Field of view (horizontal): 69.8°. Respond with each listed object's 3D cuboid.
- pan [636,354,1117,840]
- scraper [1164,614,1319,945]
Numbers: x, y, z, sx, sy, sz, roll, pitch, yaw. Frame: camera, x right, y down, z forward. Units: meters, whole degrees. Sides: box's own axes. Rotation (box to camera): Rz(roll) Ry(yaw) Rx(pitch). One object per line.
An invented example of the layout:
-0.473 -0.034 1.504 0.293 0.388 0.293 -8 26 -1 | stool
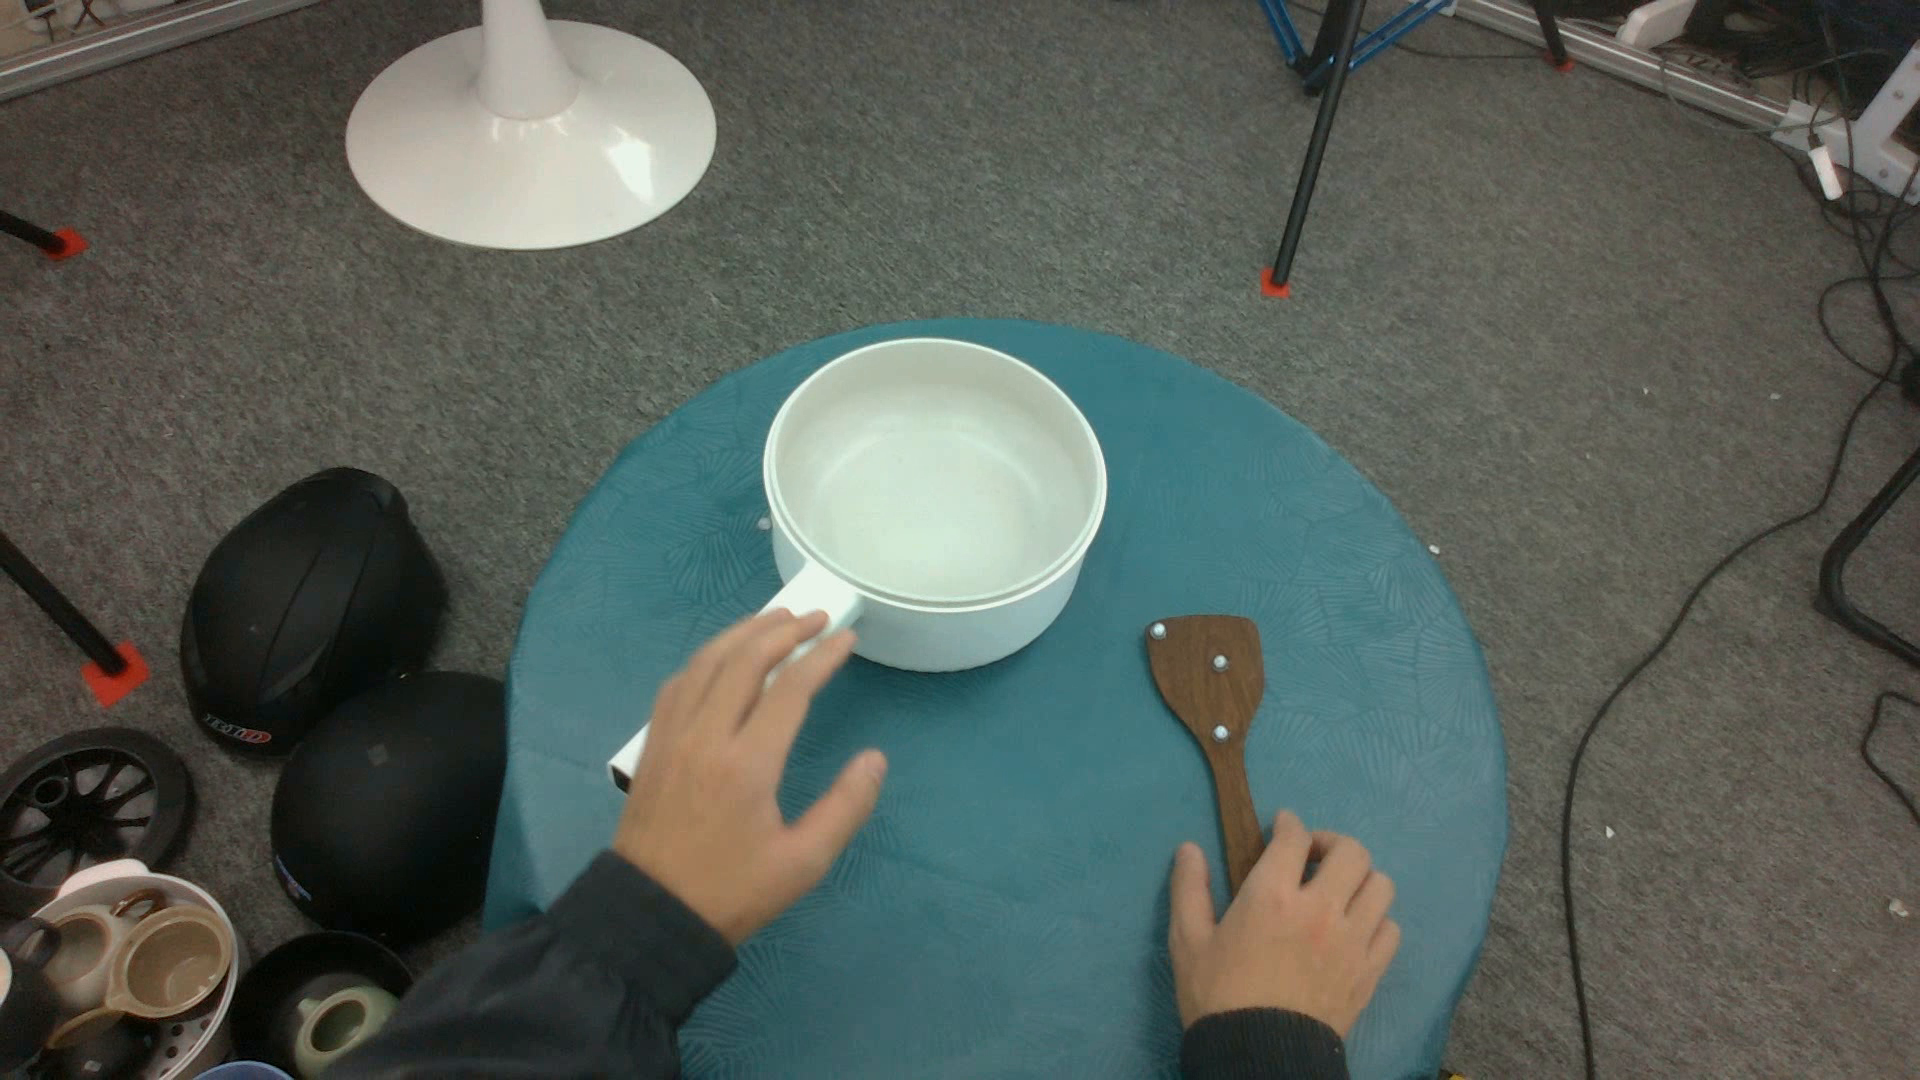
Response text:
-0.051 0.042 0.814 0.201 0.101 0.356 30 58 17 | pan
0.174 0.136 0.816 0.076 0.011 0.212 -3 55 -5 | scraper
